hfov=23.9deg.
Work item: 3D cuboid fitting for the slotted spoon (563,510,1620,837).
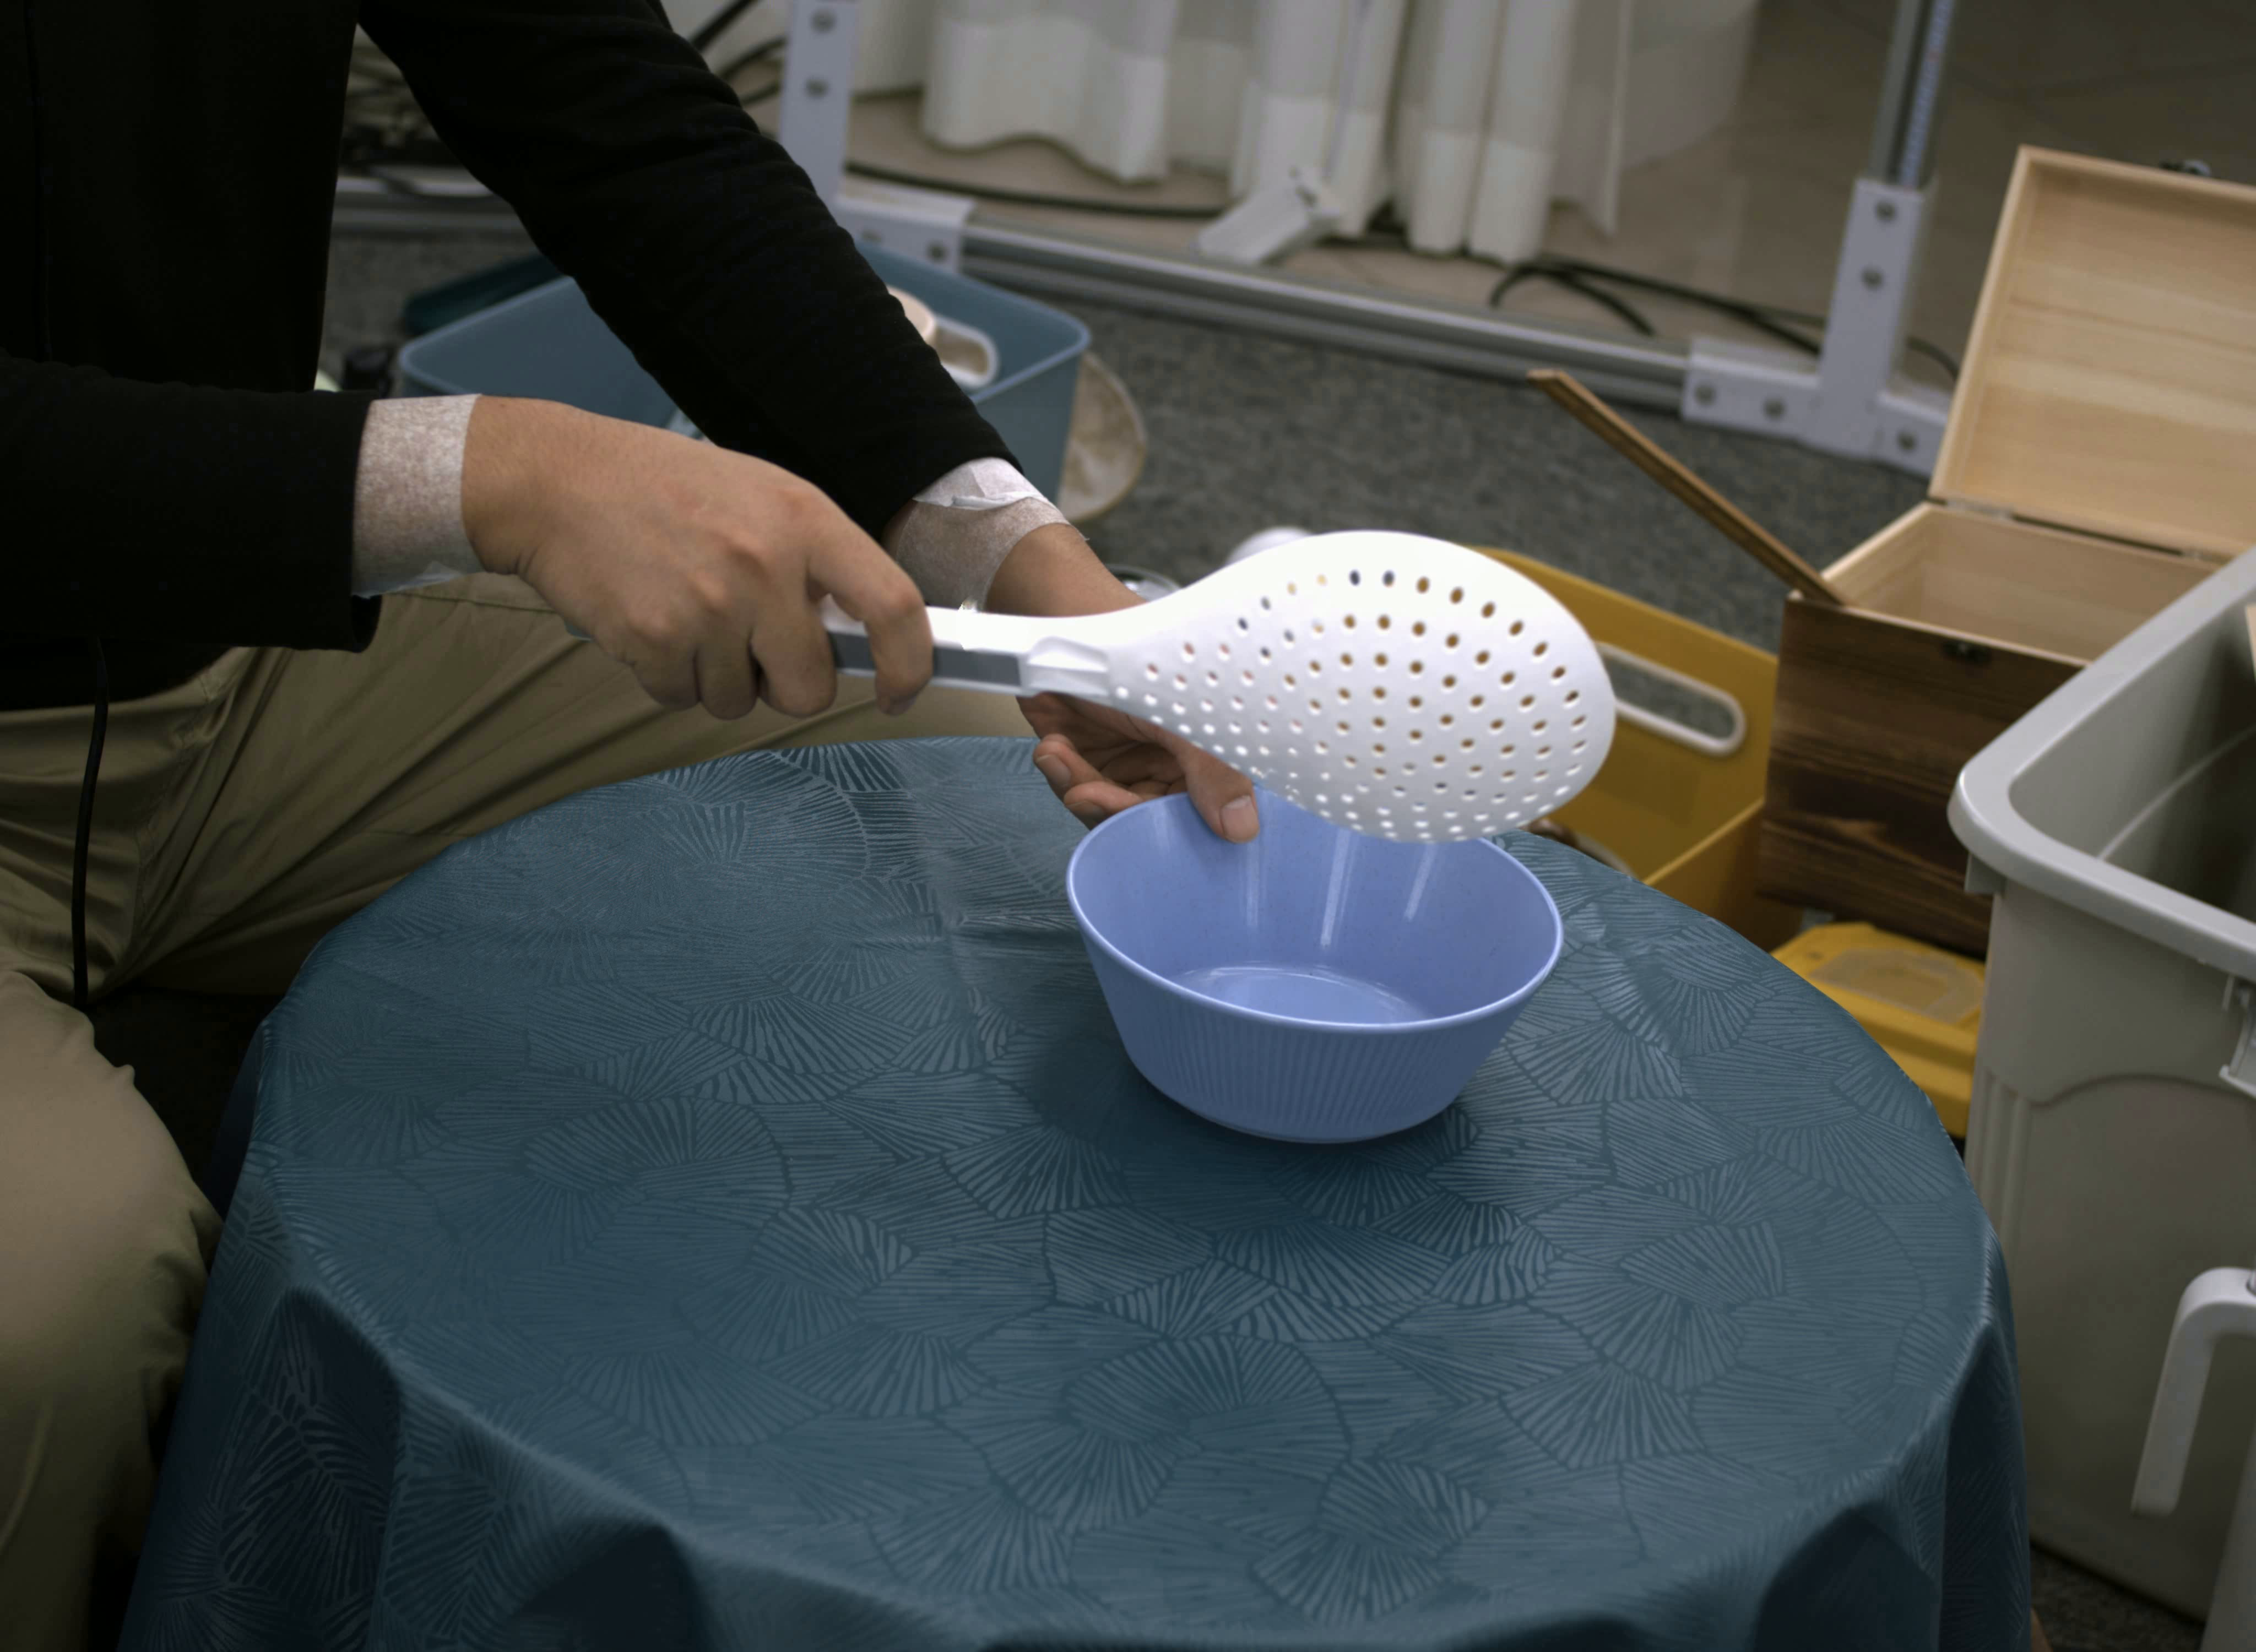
[{"bbox_3d":[-0.016,-0.057,1.720,0.350,0.135,0.046,11,46,16],"label":"slotted spoon"}]

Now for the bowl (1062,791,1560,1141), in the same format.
[{"bbox_3d":[0.061,0.054,1.874,0.175,0.070,0.177,4,26,-3],"label":"bowl"}]
